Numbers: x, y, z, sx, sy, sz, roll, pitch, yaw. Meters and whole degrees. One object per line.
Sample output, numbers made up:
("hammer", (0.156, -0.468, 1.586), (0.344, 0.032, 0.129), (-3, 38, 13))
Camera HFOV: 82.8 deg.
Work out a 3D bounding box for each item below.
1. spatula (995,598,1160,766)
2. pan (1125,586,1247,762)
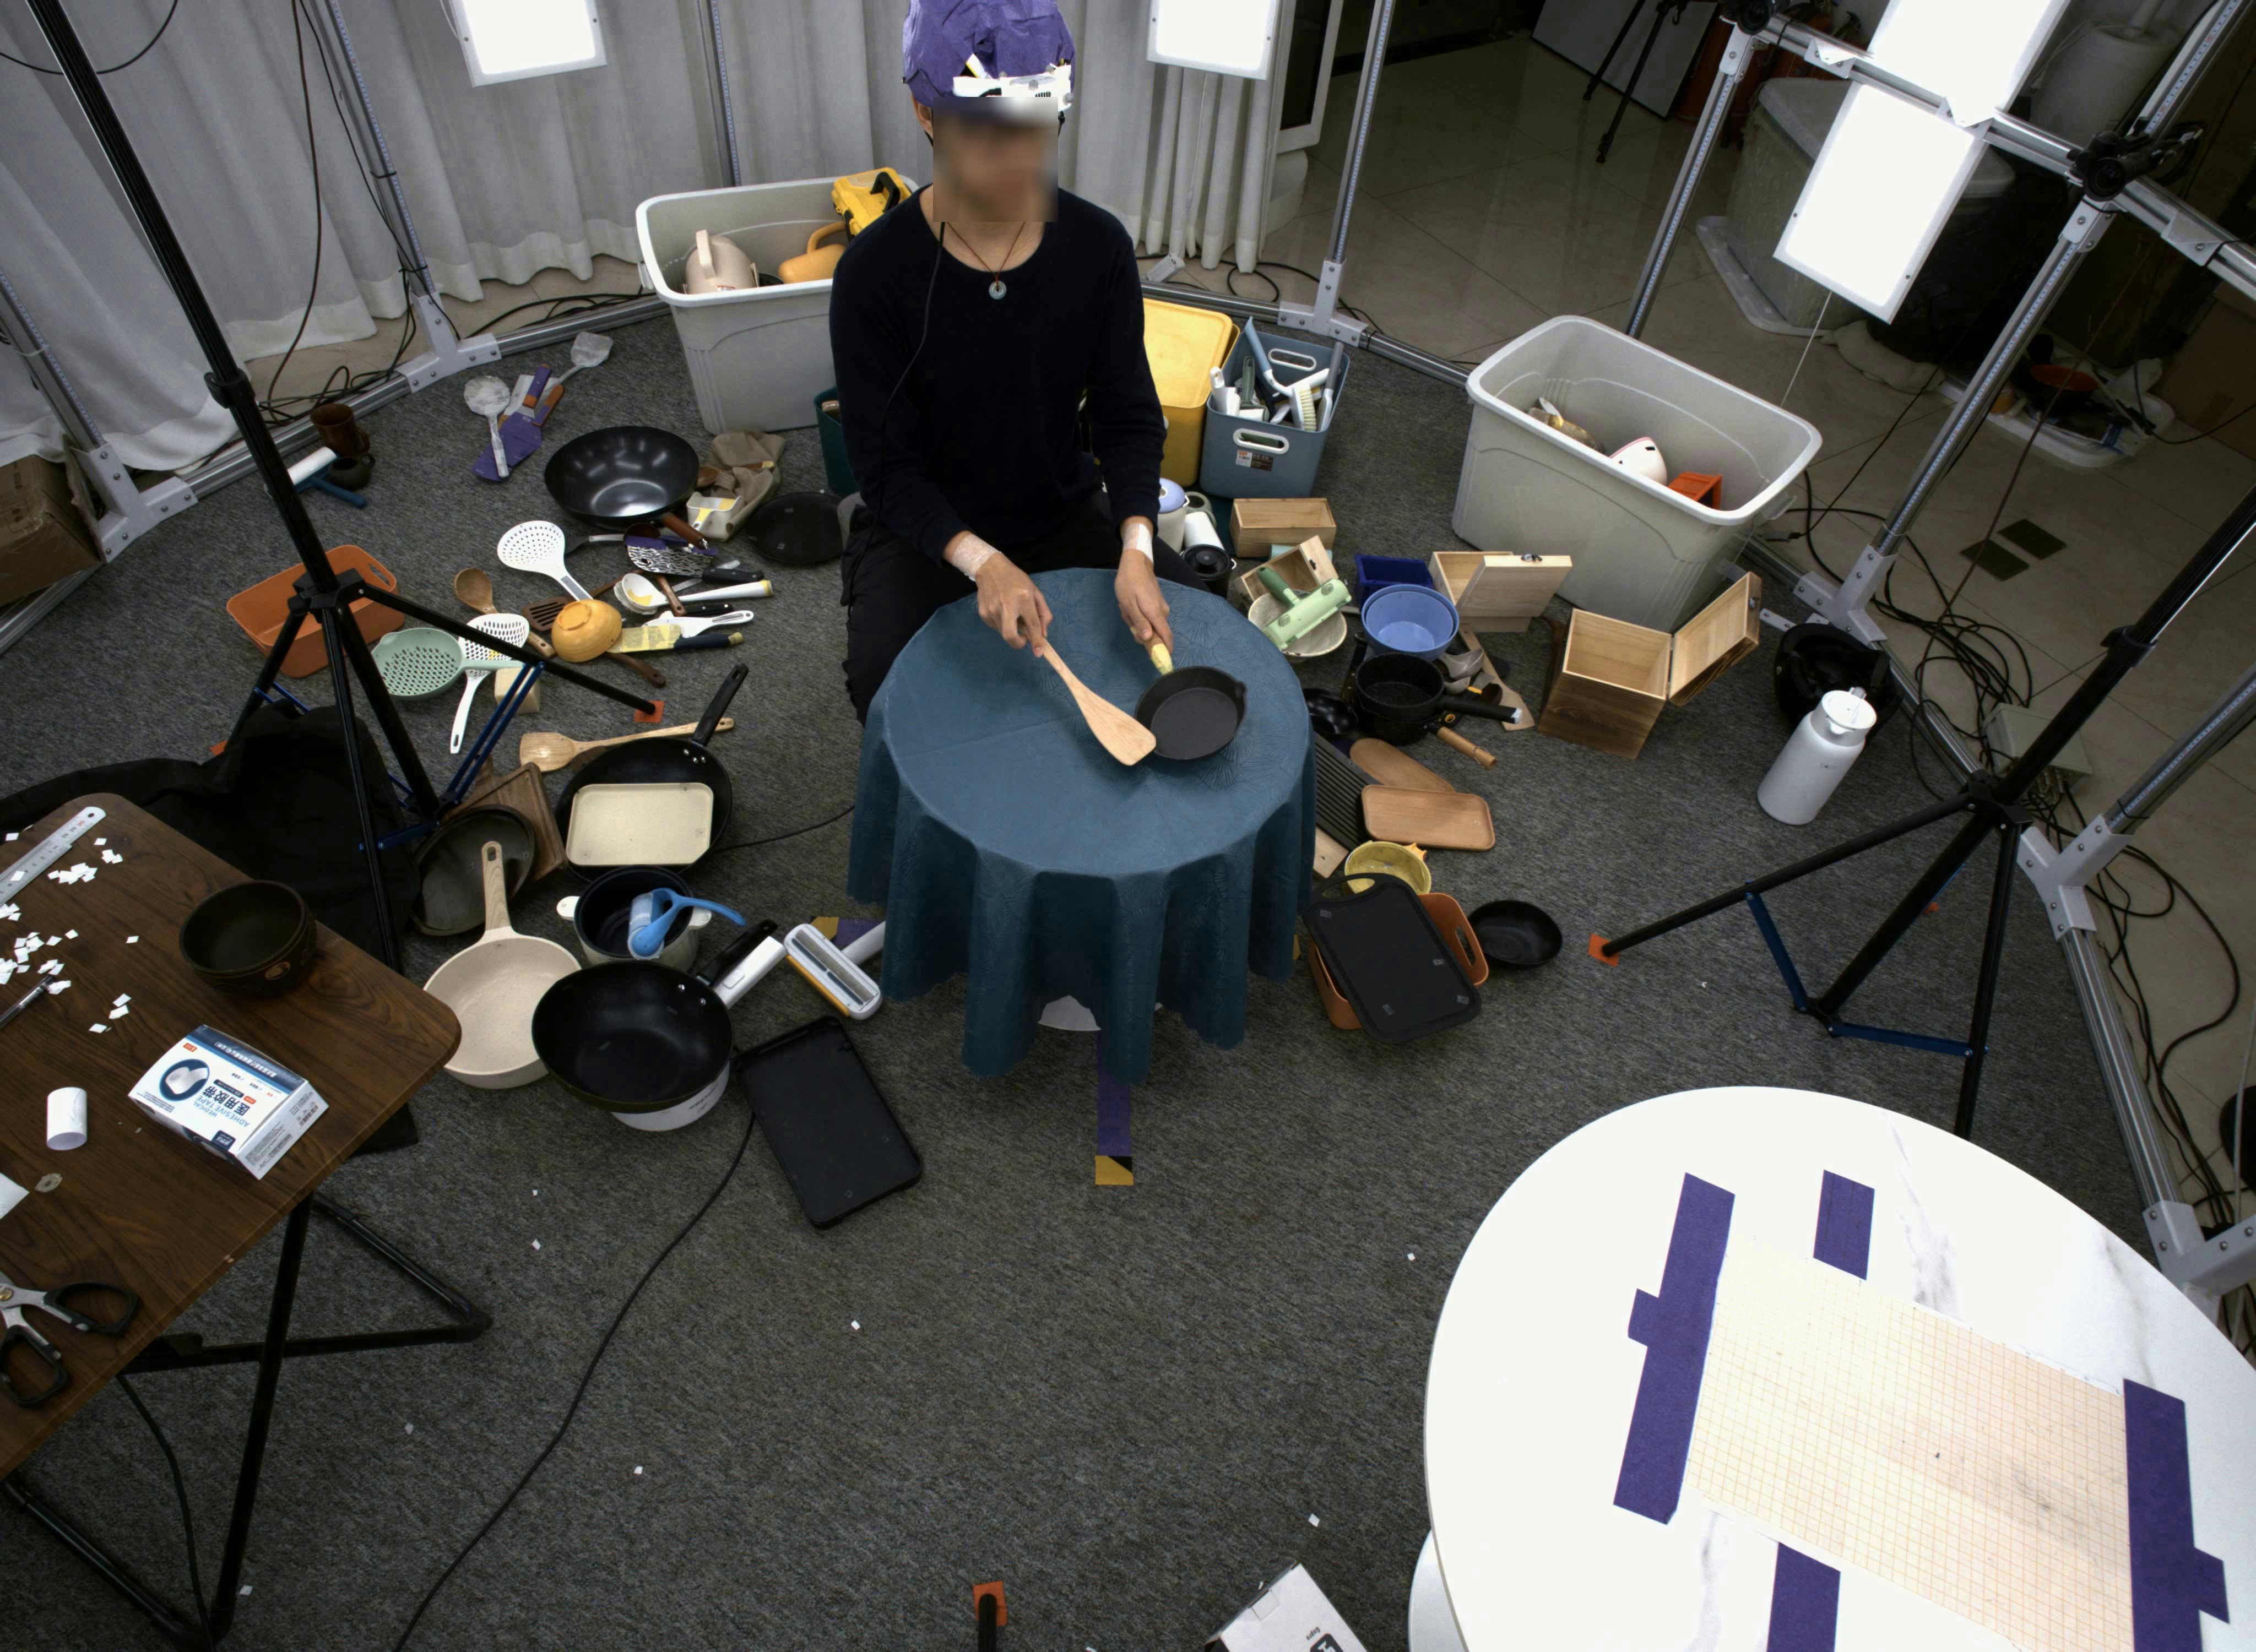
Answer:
("spatula", (-0.077, -0.206, 1.768), (0.080, 0.016, 0.332), (-26, 66, -38))
("pan", (0.060, -0.217, 1.805), (0.169, 0.048, 0.332), (-23, 55, 0))
